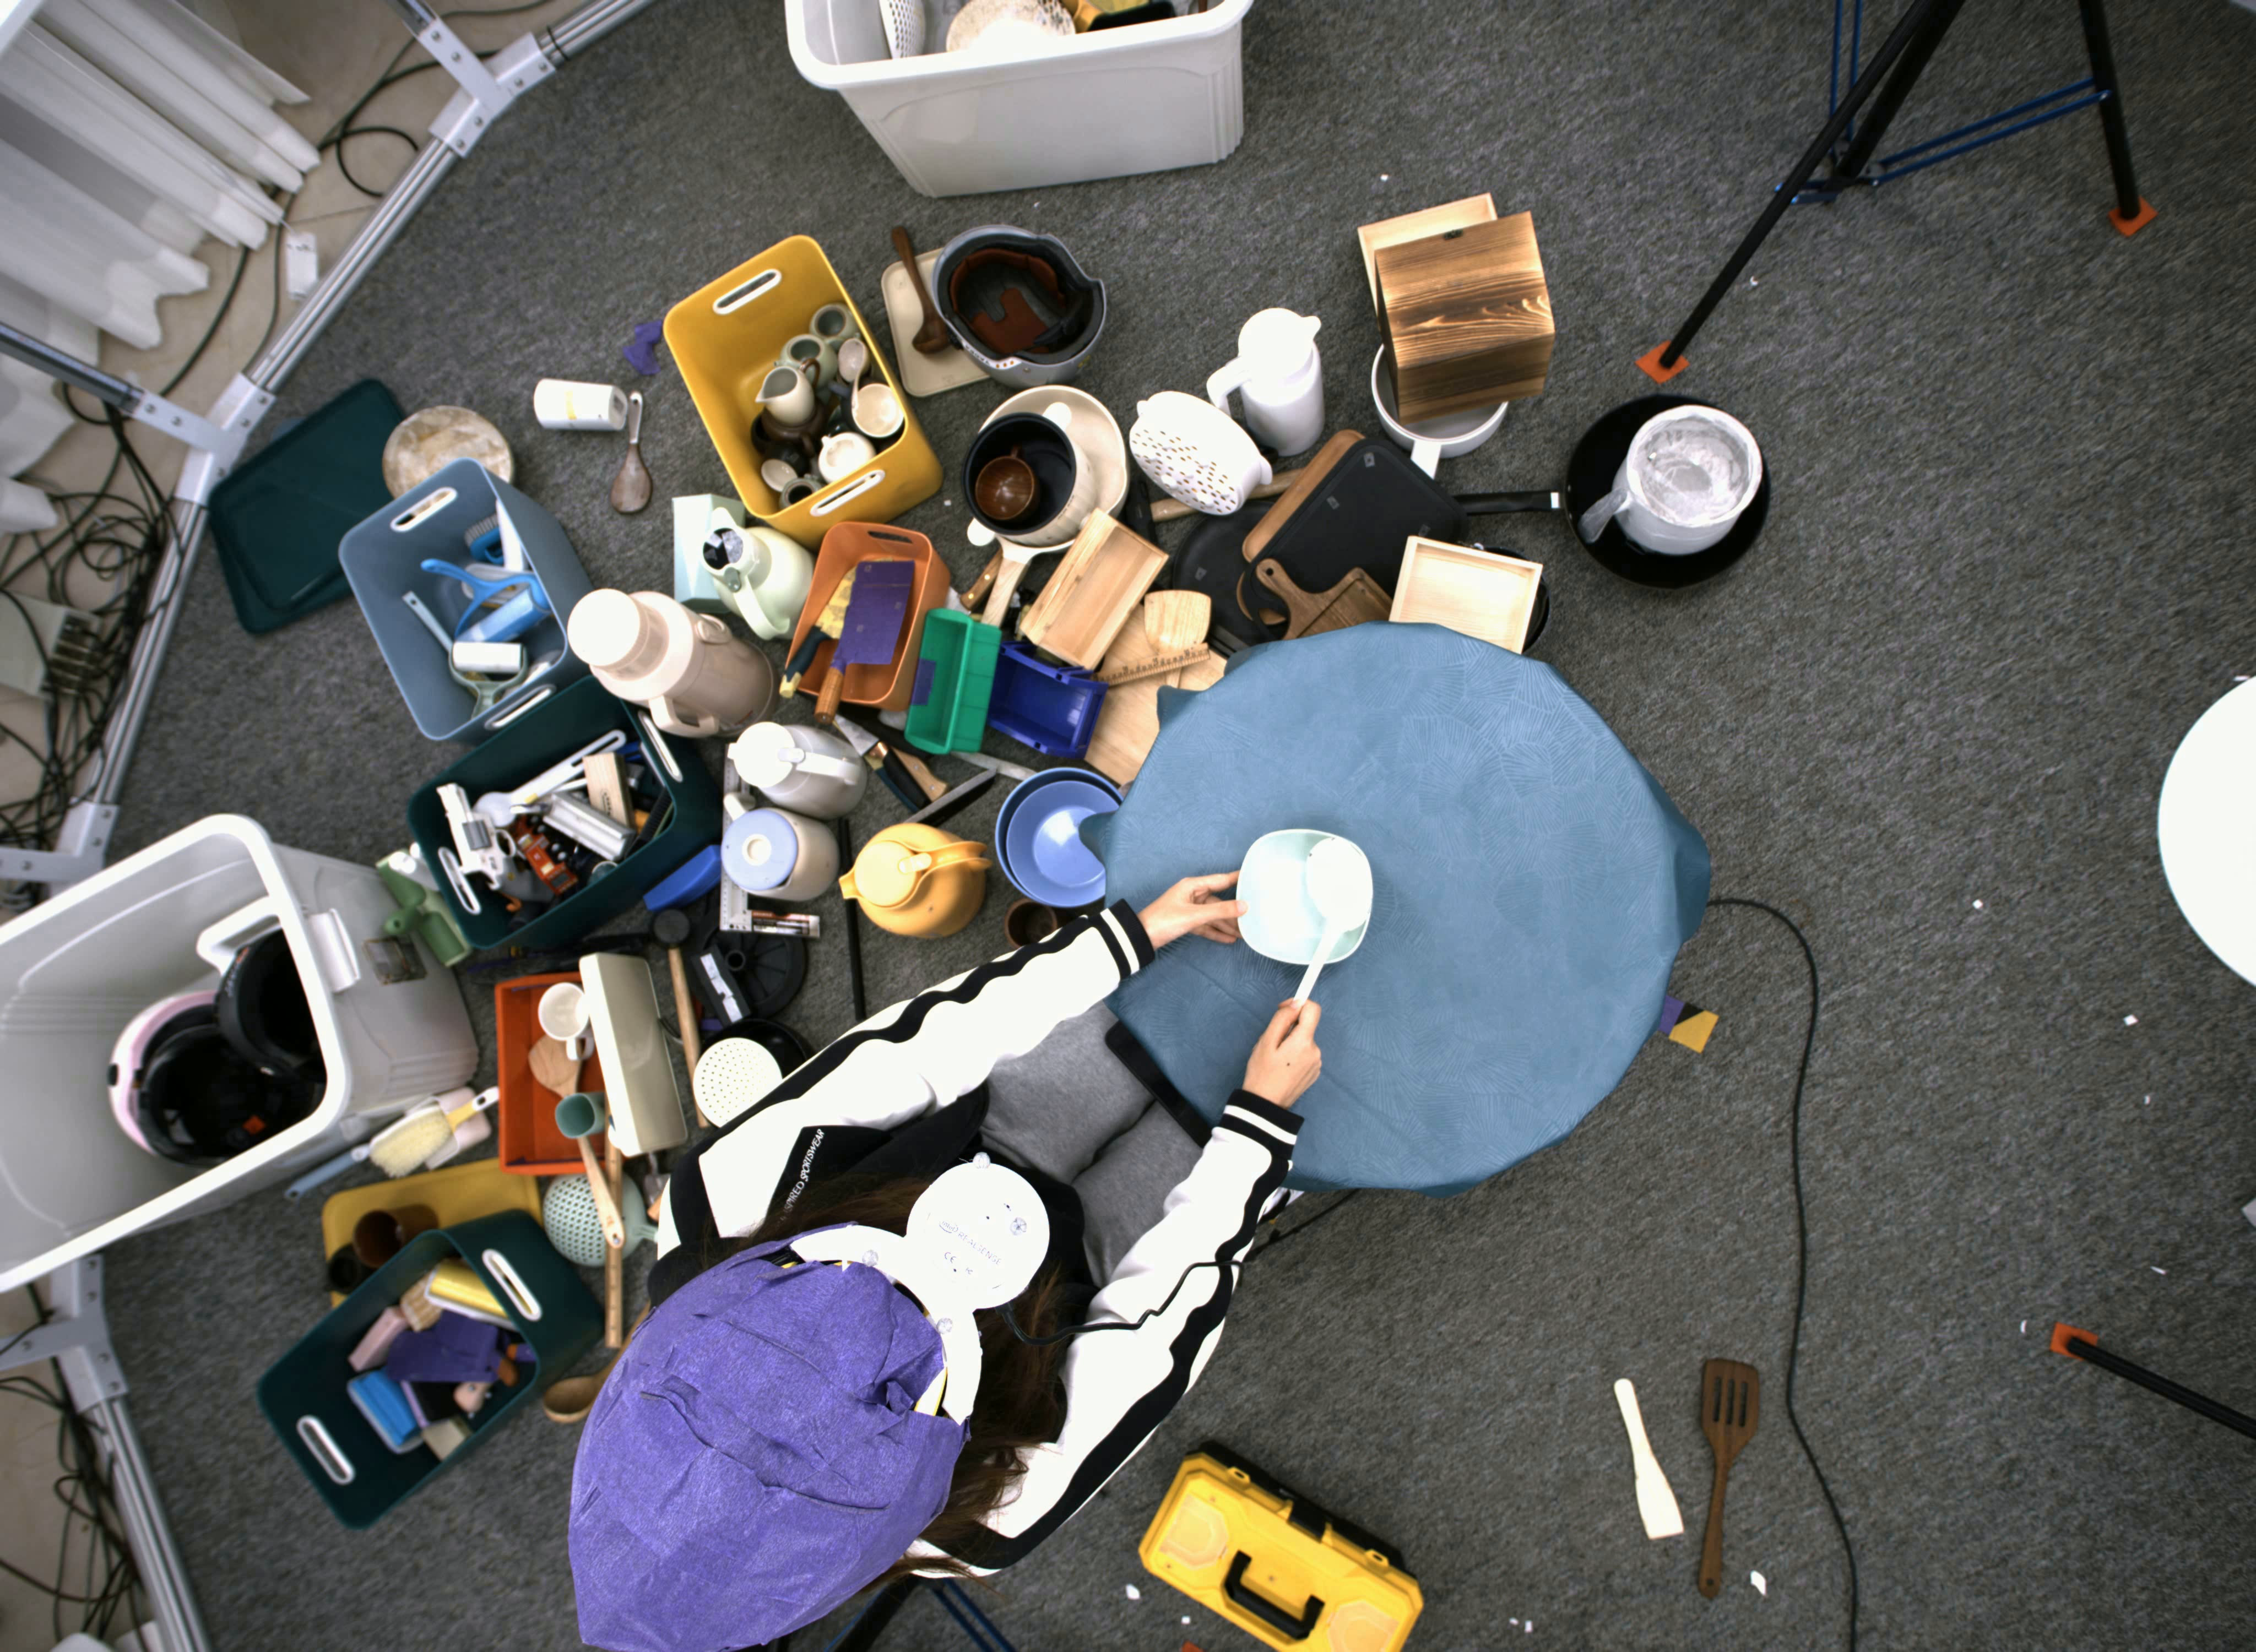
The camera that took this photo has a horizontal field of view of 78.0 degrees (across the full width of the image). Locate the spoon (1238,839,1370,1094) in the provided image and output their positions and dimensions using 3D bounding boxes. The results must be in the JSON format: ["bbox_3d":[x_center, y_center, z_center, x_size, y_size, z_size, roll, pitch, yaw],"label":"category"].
[{"bbox_3d":[0.162,0.143,1.401,0.099,0.059,0.279,38,102,52],"label":"spoon"}]

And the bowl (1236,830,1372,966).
[{"bbox_3d":[0.185,0.076,1.450,0.152,0.058,0.151,-1,86,11],"label":"bowl"}]
